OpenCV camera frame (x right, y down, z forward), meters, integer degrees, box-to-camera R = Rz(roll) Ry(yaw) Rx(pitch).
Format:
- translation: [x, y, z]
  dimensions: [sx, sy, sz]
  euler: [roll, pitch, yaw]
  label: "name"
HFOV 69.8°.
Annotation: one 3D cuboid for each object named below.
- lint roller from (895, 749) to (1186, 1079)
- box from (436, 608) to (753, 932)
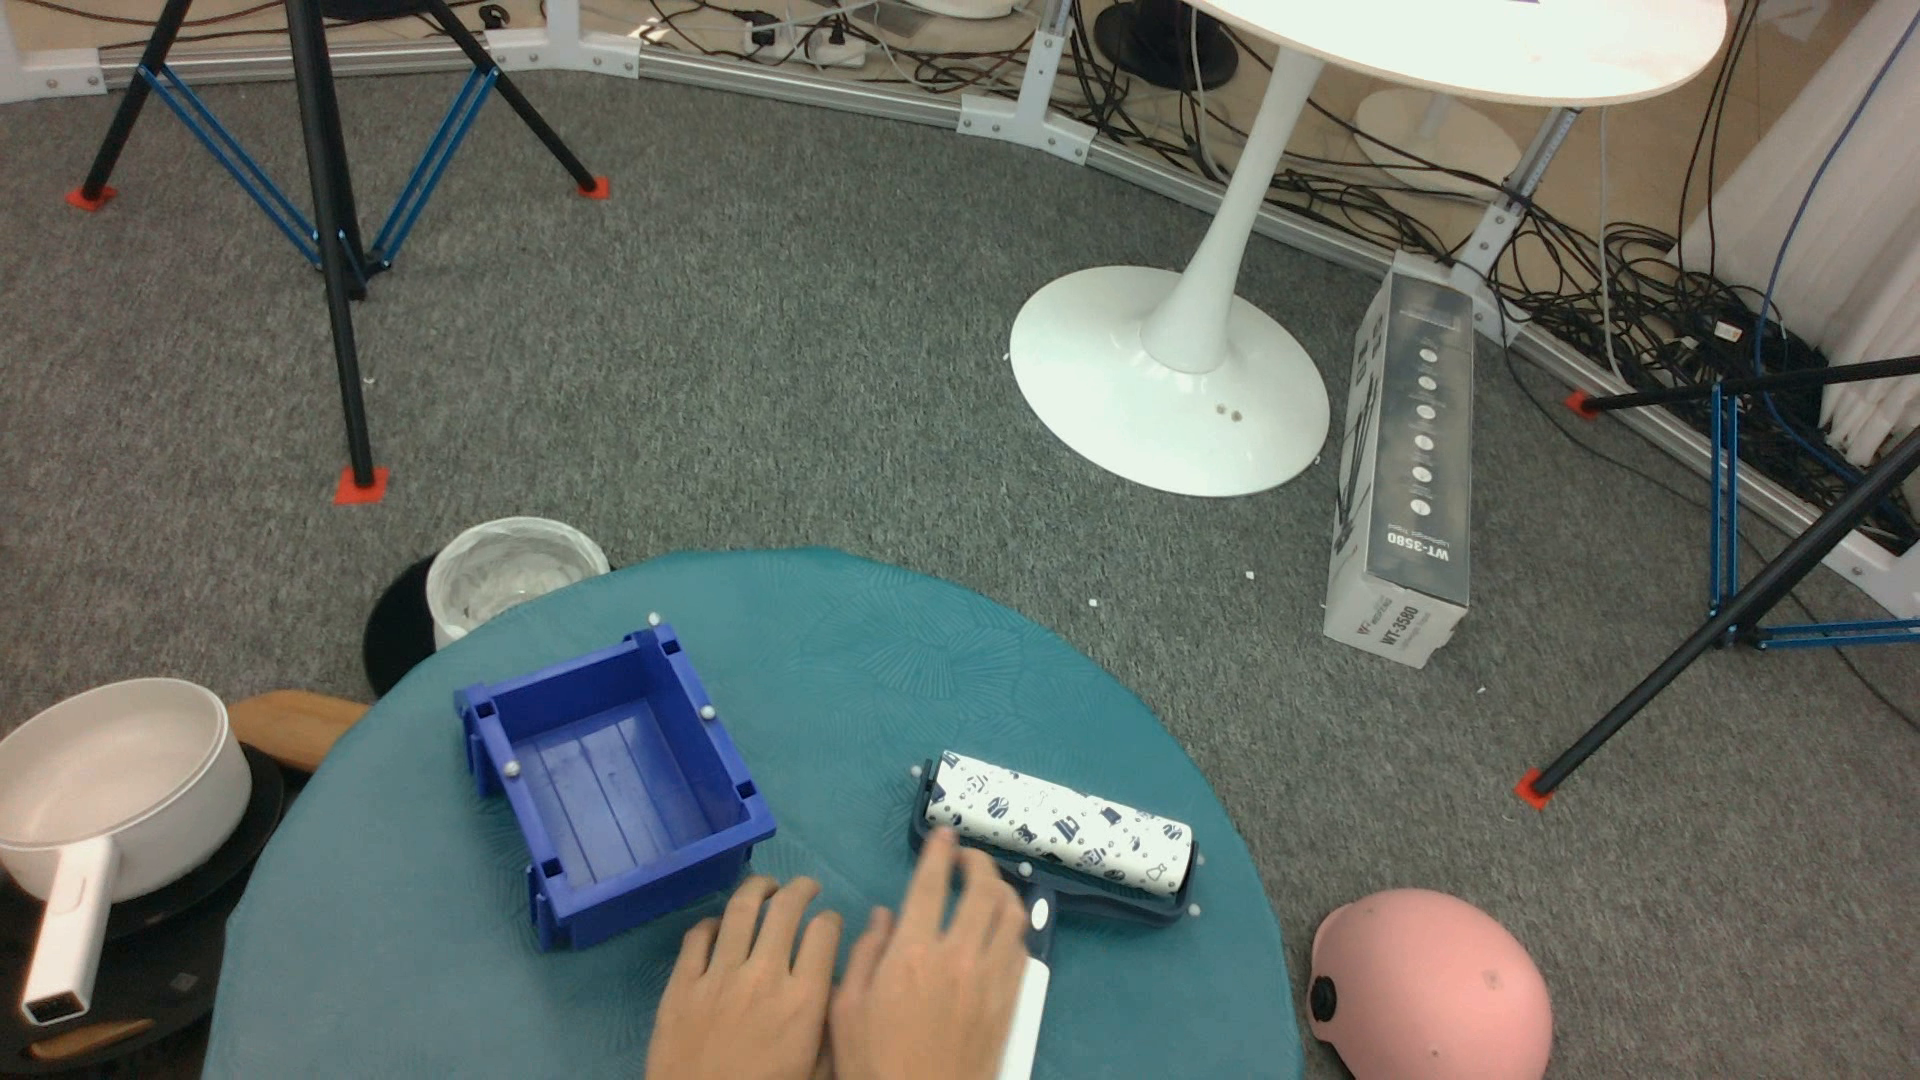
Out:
- translation: [0.032, 0.246, 0.779]
  dimensions: [0.176, 0.050, 0.248]
  euler: [17, 49, -2]
  label: "lint roller"
- translation: [-0.216, 0.125, 0.790]
  dimensions: [0.125, 0.081, 0.180]
  euler: [-18, 60, -27]
  label: "box"
